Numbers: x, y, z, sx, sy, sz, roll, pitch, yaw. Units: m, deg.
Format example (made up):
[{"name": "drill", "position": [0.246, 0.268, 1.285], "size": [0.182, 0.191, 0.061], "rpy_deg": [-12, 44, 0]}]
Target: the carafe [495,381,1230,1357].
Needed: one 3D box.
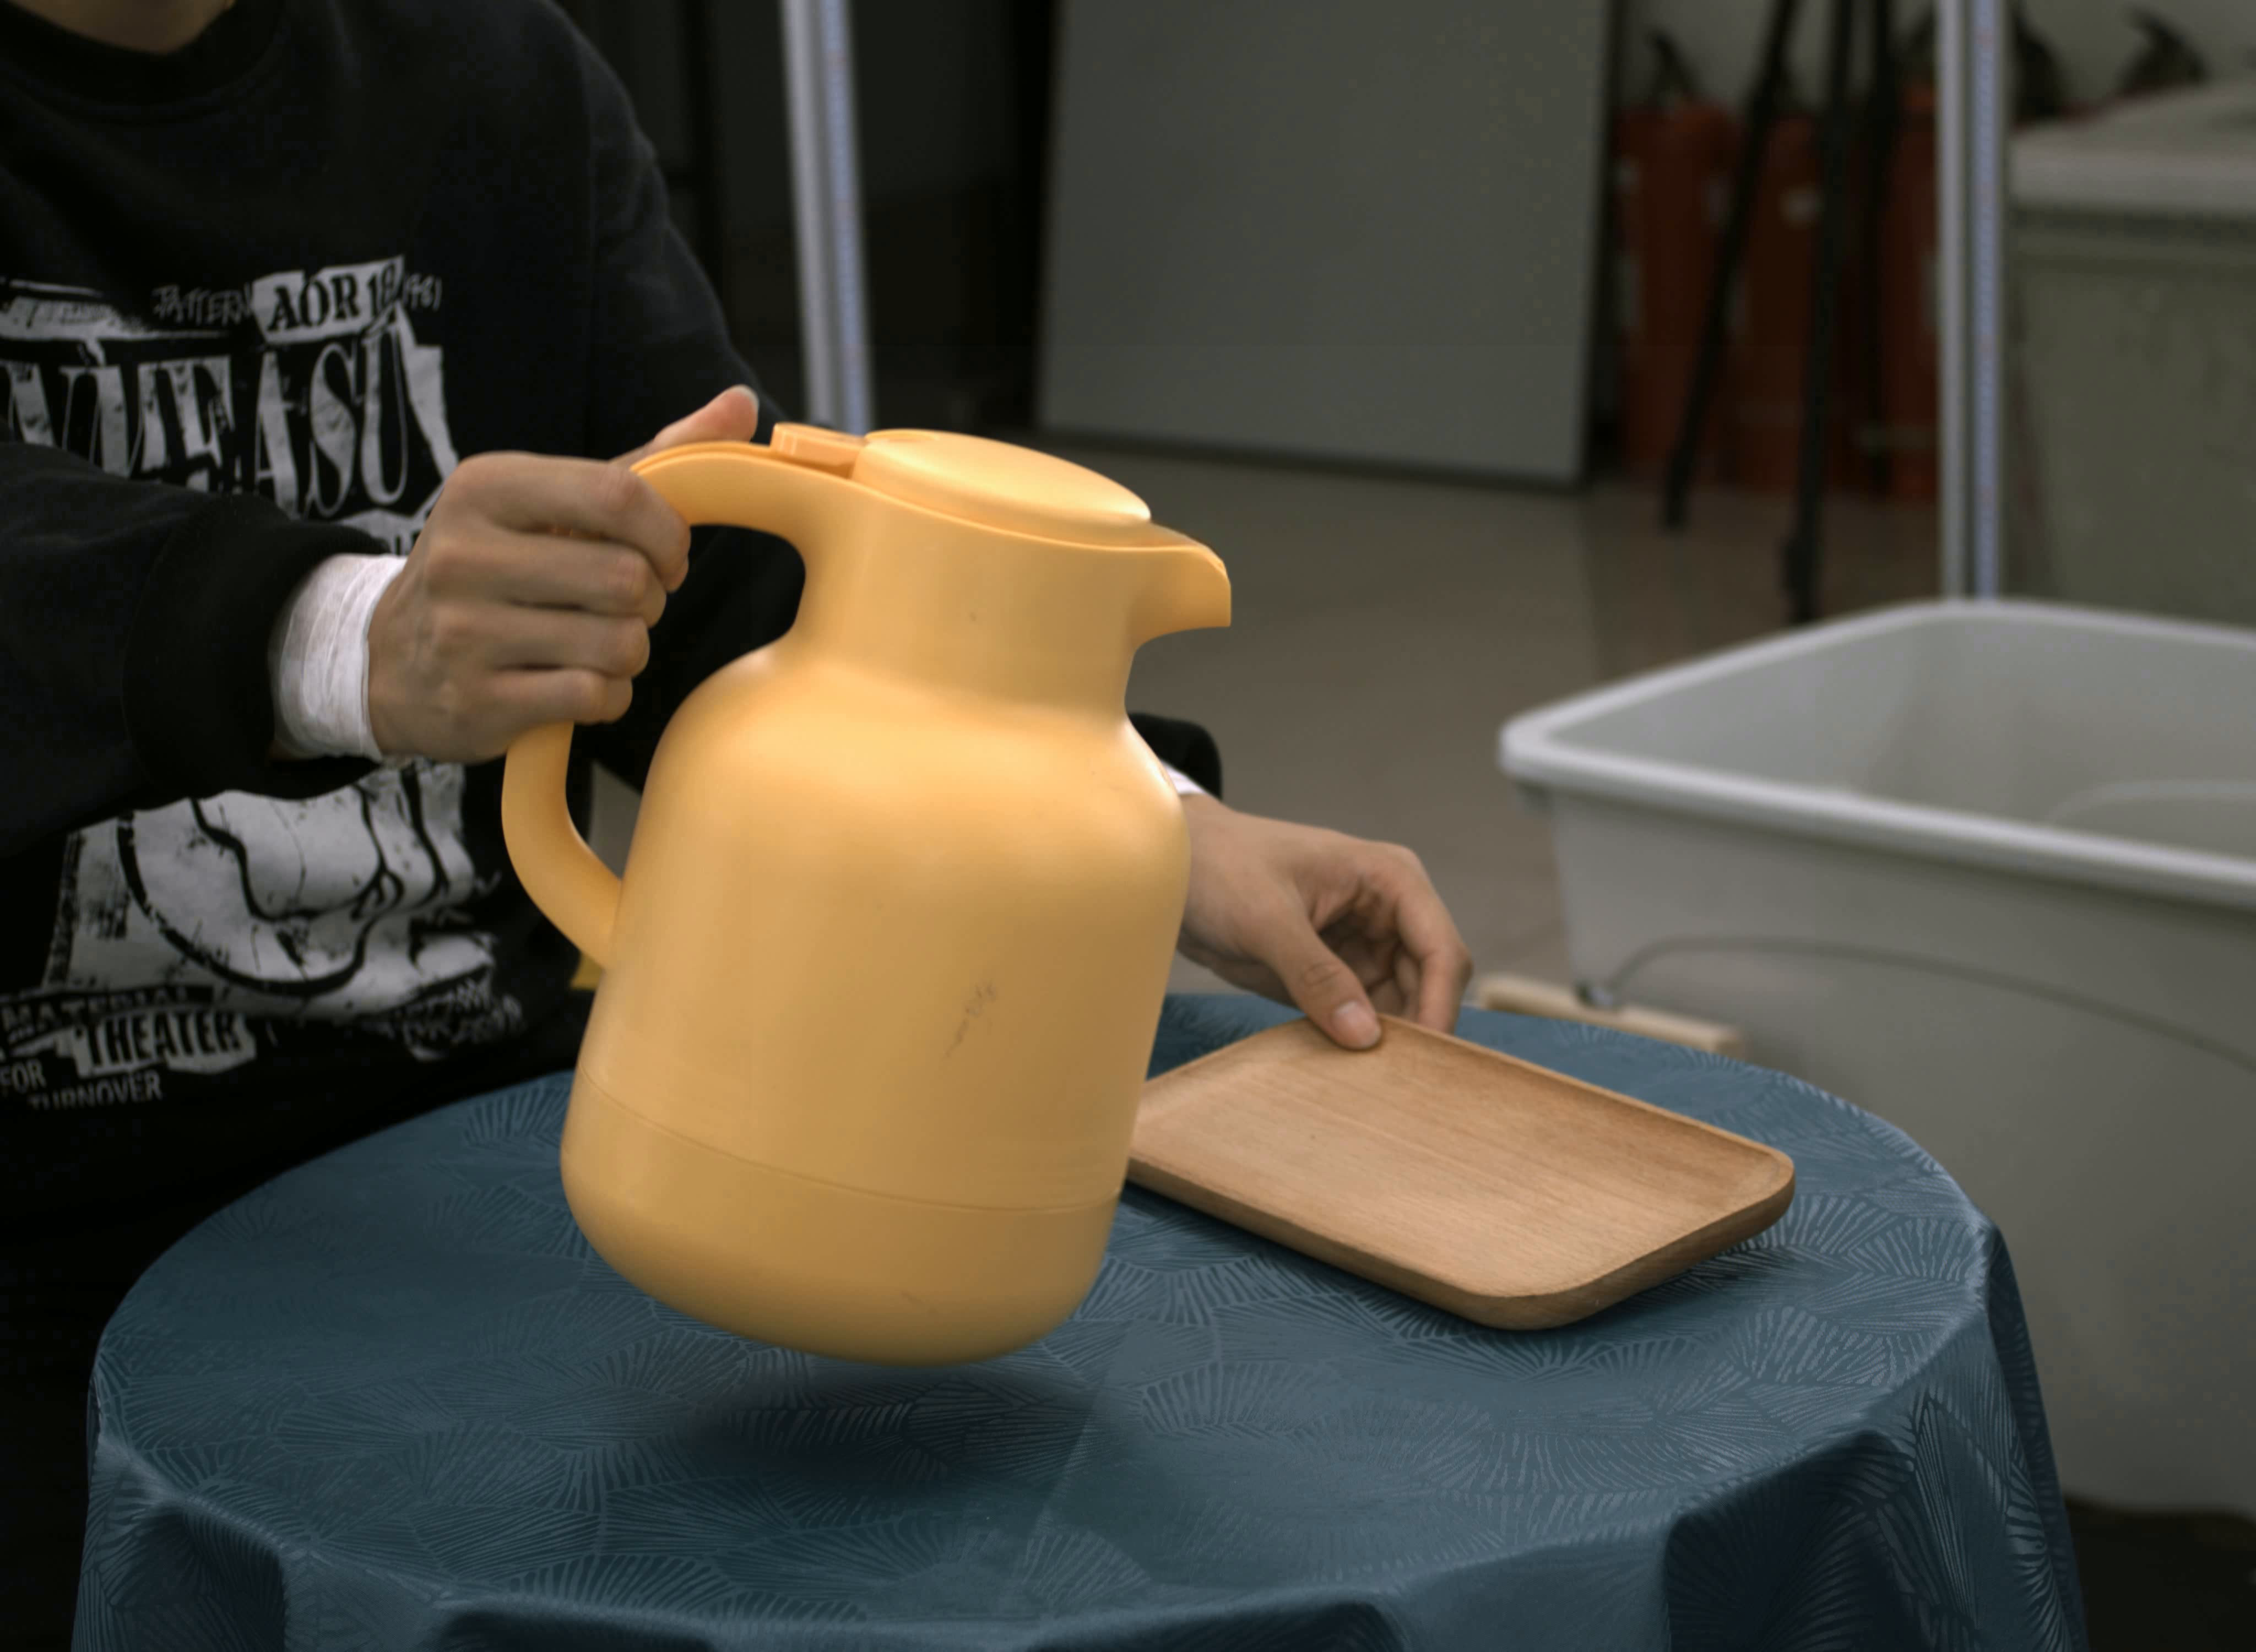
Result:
[{"name": "carafe", "position": [-0.086, 0.005, 1.554], "size": [0.200, 0.263, 0.163], "rpy_deg": [16, 9, 0]}]

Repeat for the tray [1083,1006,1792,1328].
[{"name": "tray", "position": [0.096, 0.107, 1.728], "size": [0.128, 0.023, 0.253], "rpy_deg": [-19, 20, -30]}]
